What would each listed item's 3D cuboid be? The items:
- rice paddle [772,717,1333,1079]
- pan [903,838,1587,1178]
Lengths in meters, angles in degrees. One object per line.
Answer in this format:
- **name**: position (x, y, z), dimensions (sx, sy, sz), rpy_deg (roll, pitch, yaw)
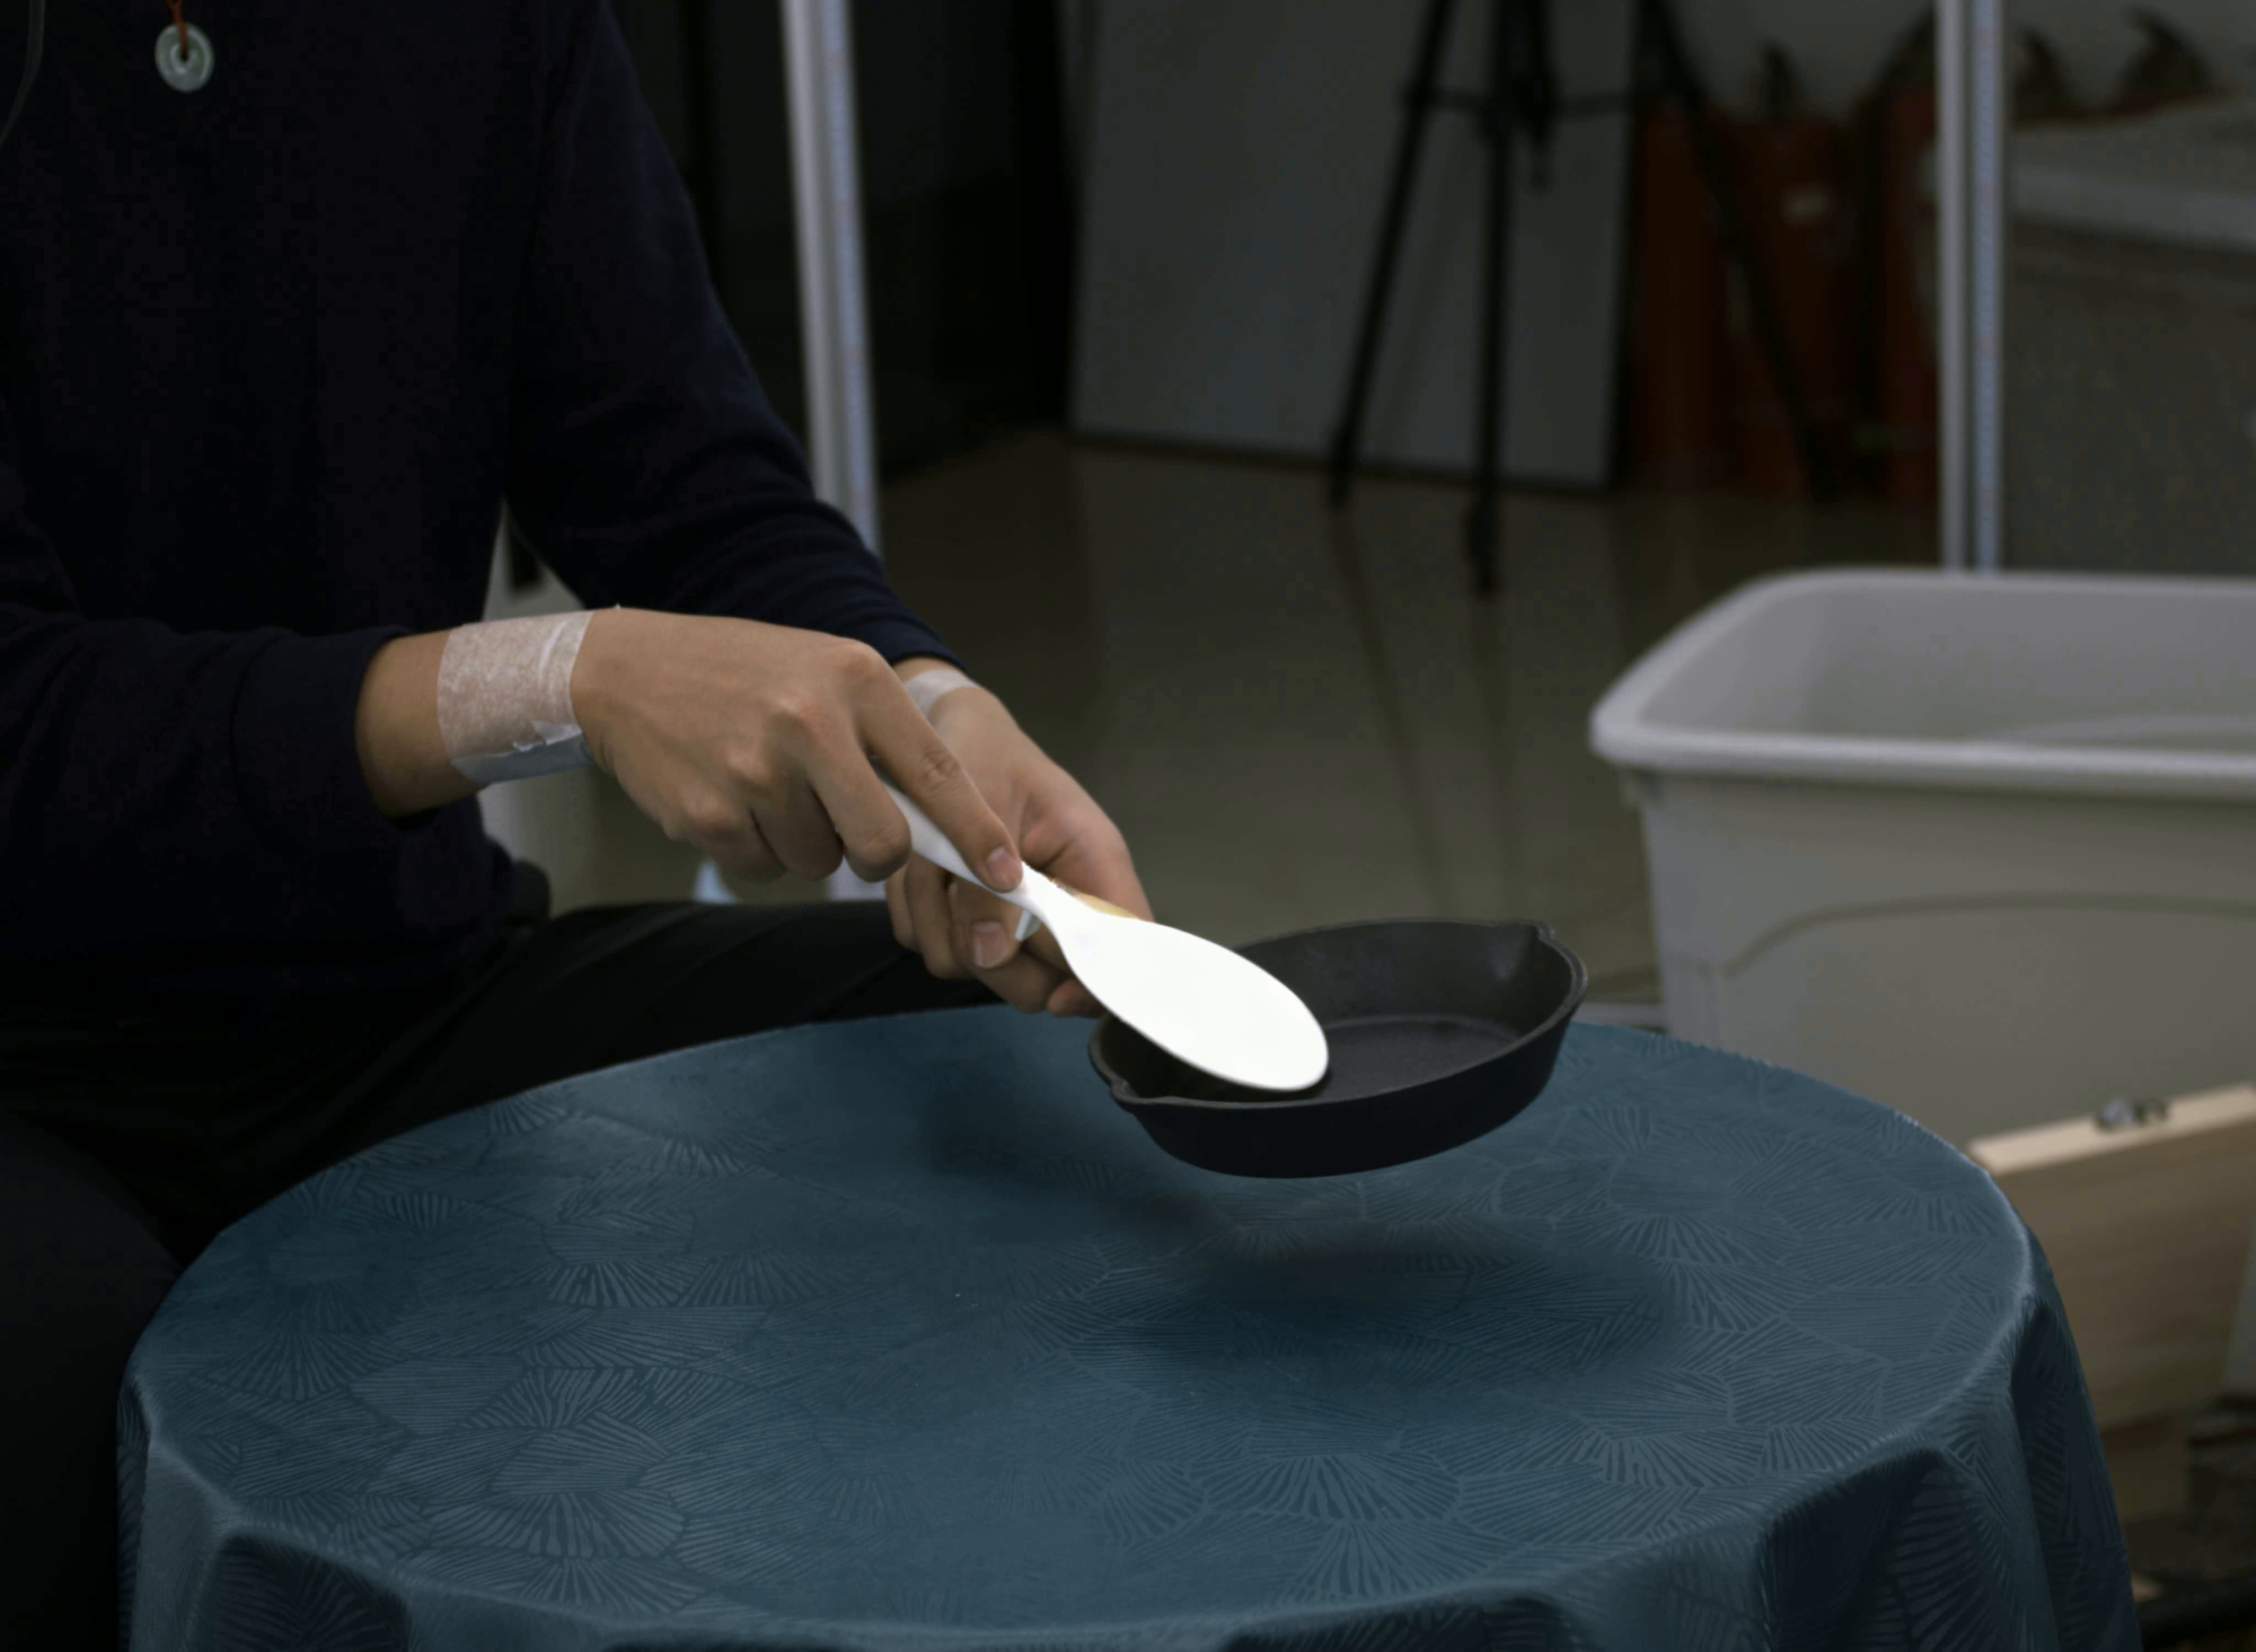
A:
- **rice paddle**: position (-0.022, 0.025, 1.716), dimensions (0.206, 0.030, 0.068), rpy_deg (30, 32, 19)
- **pan**: position (0.021, 0.048, 1.740), dimensions (0.165, 0.050, 0.328), rpy_deg (-20, 21, -29)
